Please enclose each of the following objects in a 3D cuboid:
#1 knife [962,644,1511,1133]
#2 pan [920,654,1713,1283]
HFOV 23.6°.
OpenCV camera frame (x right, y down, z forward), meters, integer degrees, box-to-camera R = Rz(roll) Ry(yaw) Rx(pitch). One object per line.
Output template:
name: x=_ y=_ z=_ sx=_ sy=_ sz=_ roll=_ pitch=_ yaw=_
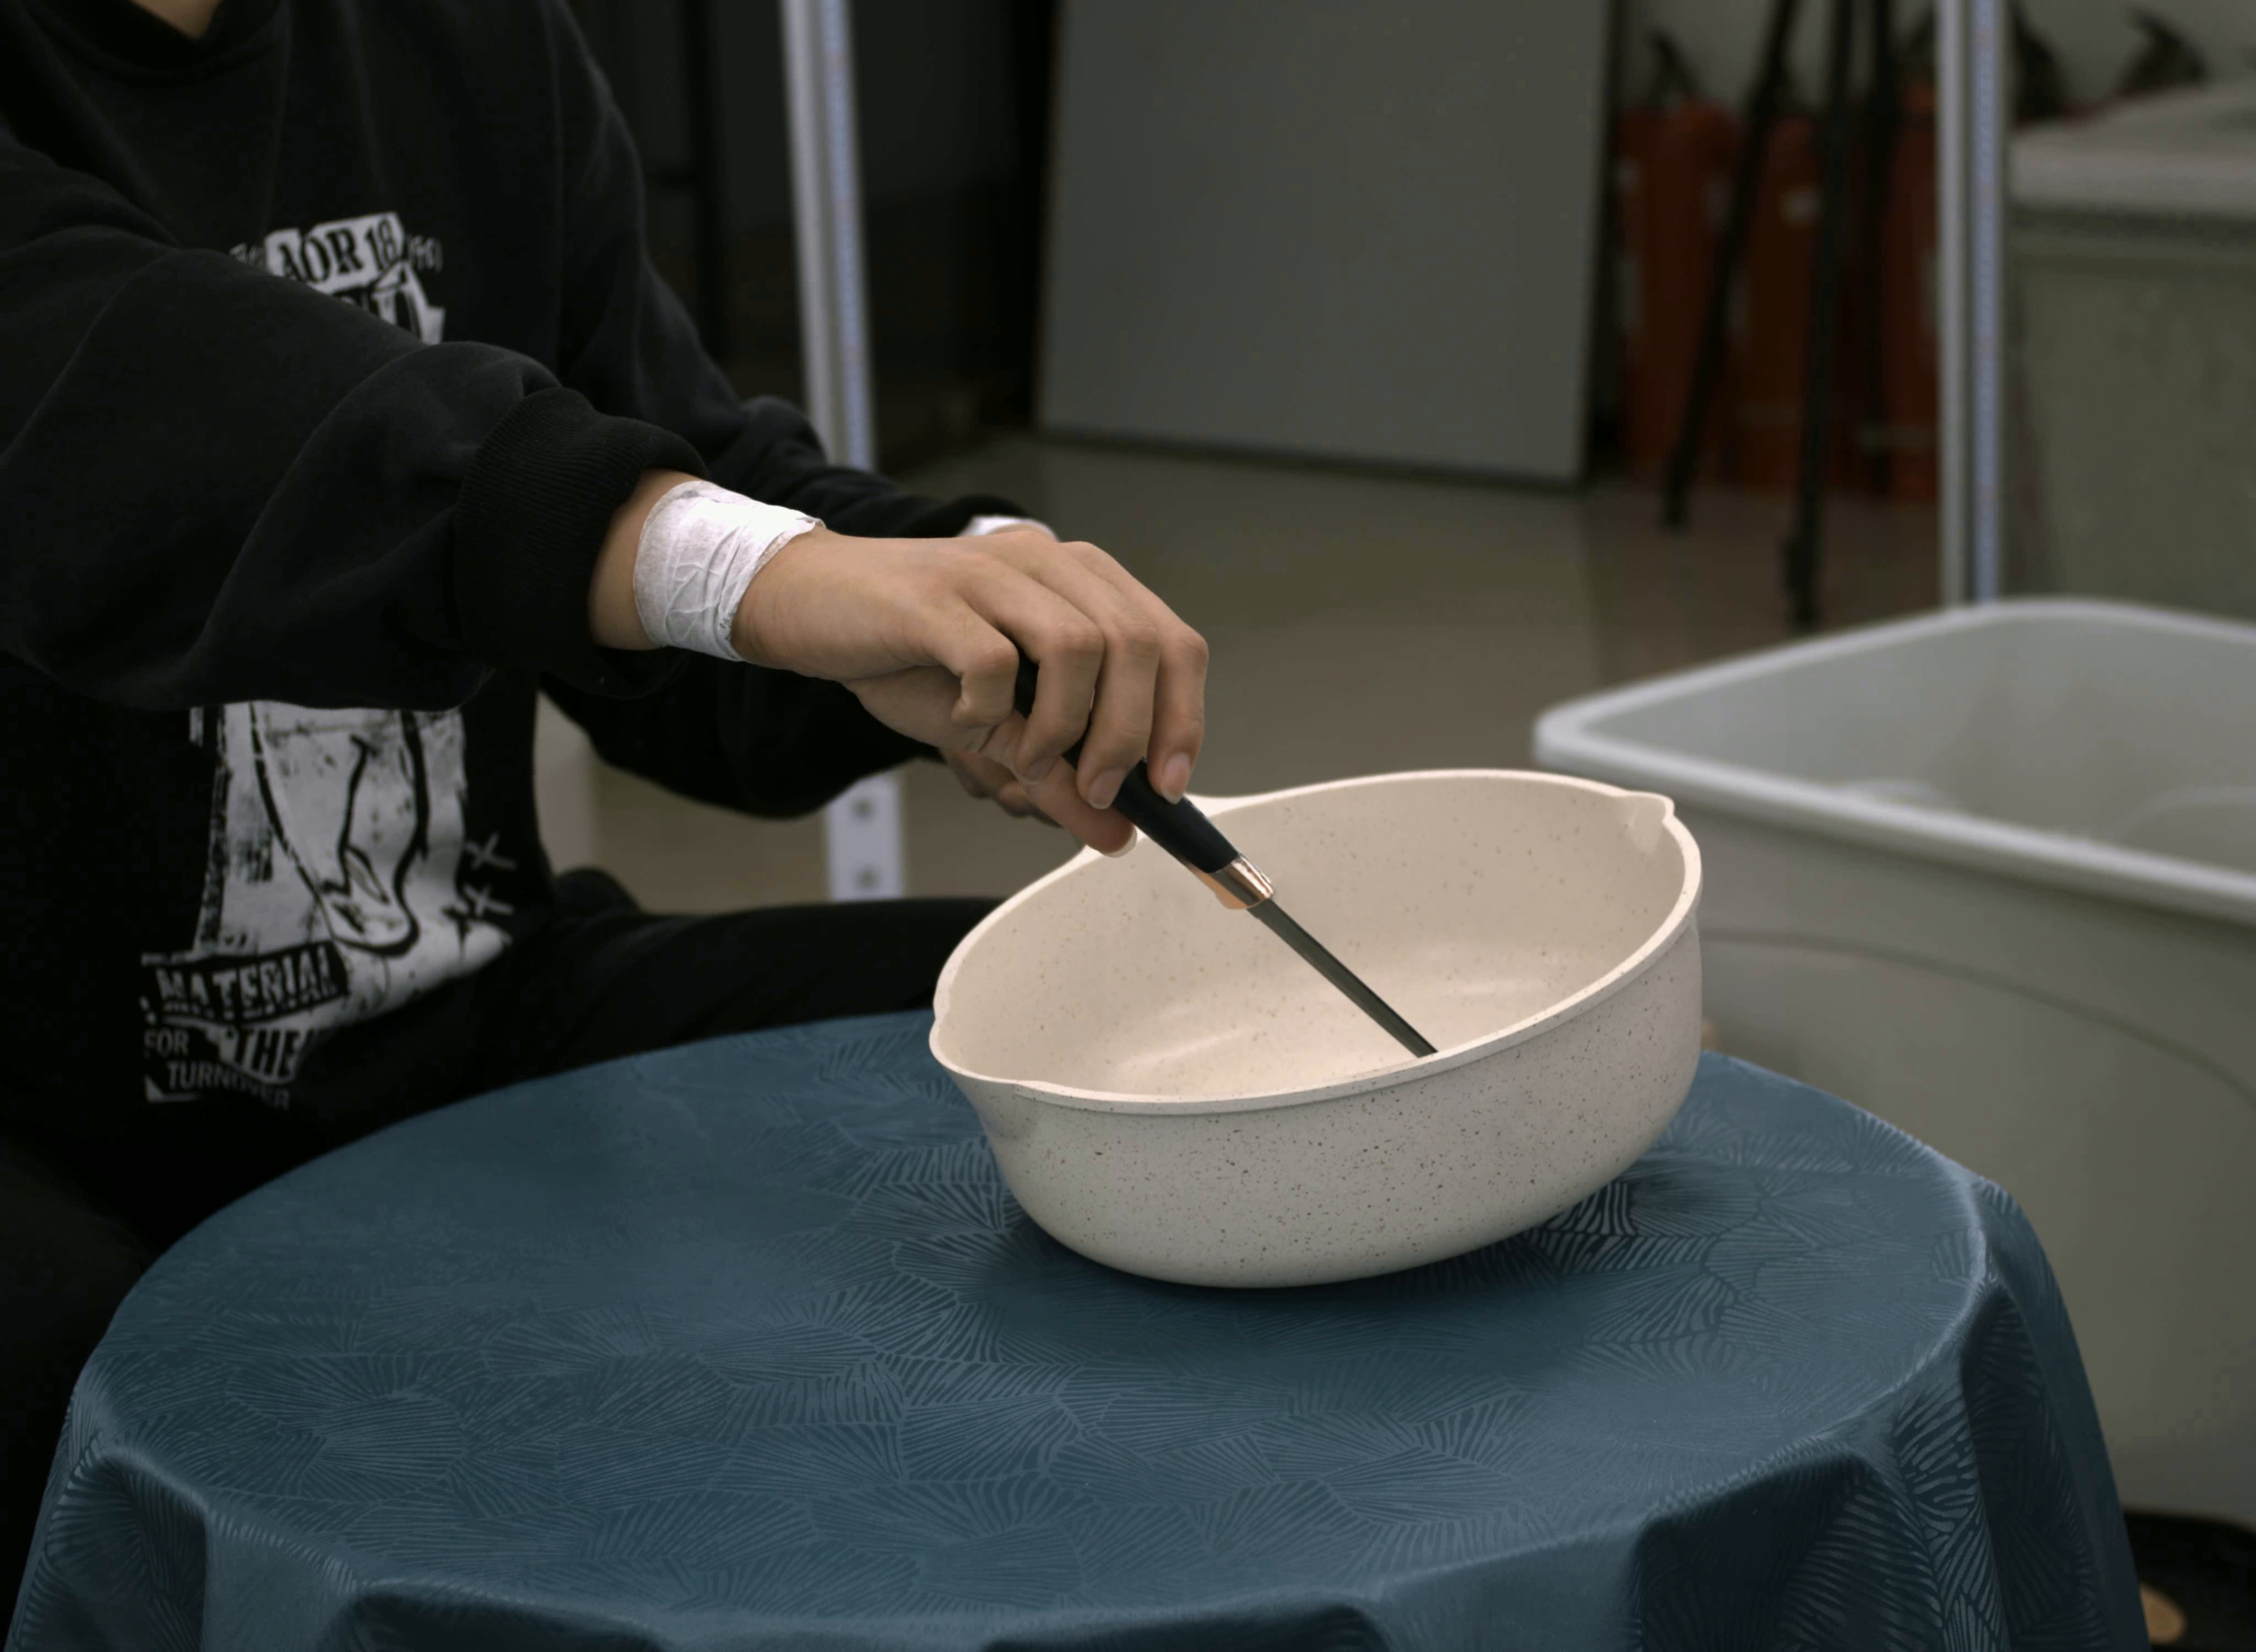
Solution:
knife: x=0.036 y=0.021 z=1.608 sx=0.017 sy=0.224 sz=0.026 roll=-55 pitch=14 yaw=-24
pan: x=0.033 y=0.036 z=1.814 sx=0.259 sy=0.102 sz=0.439 roll=-22 pitch=22 yaw=-17
